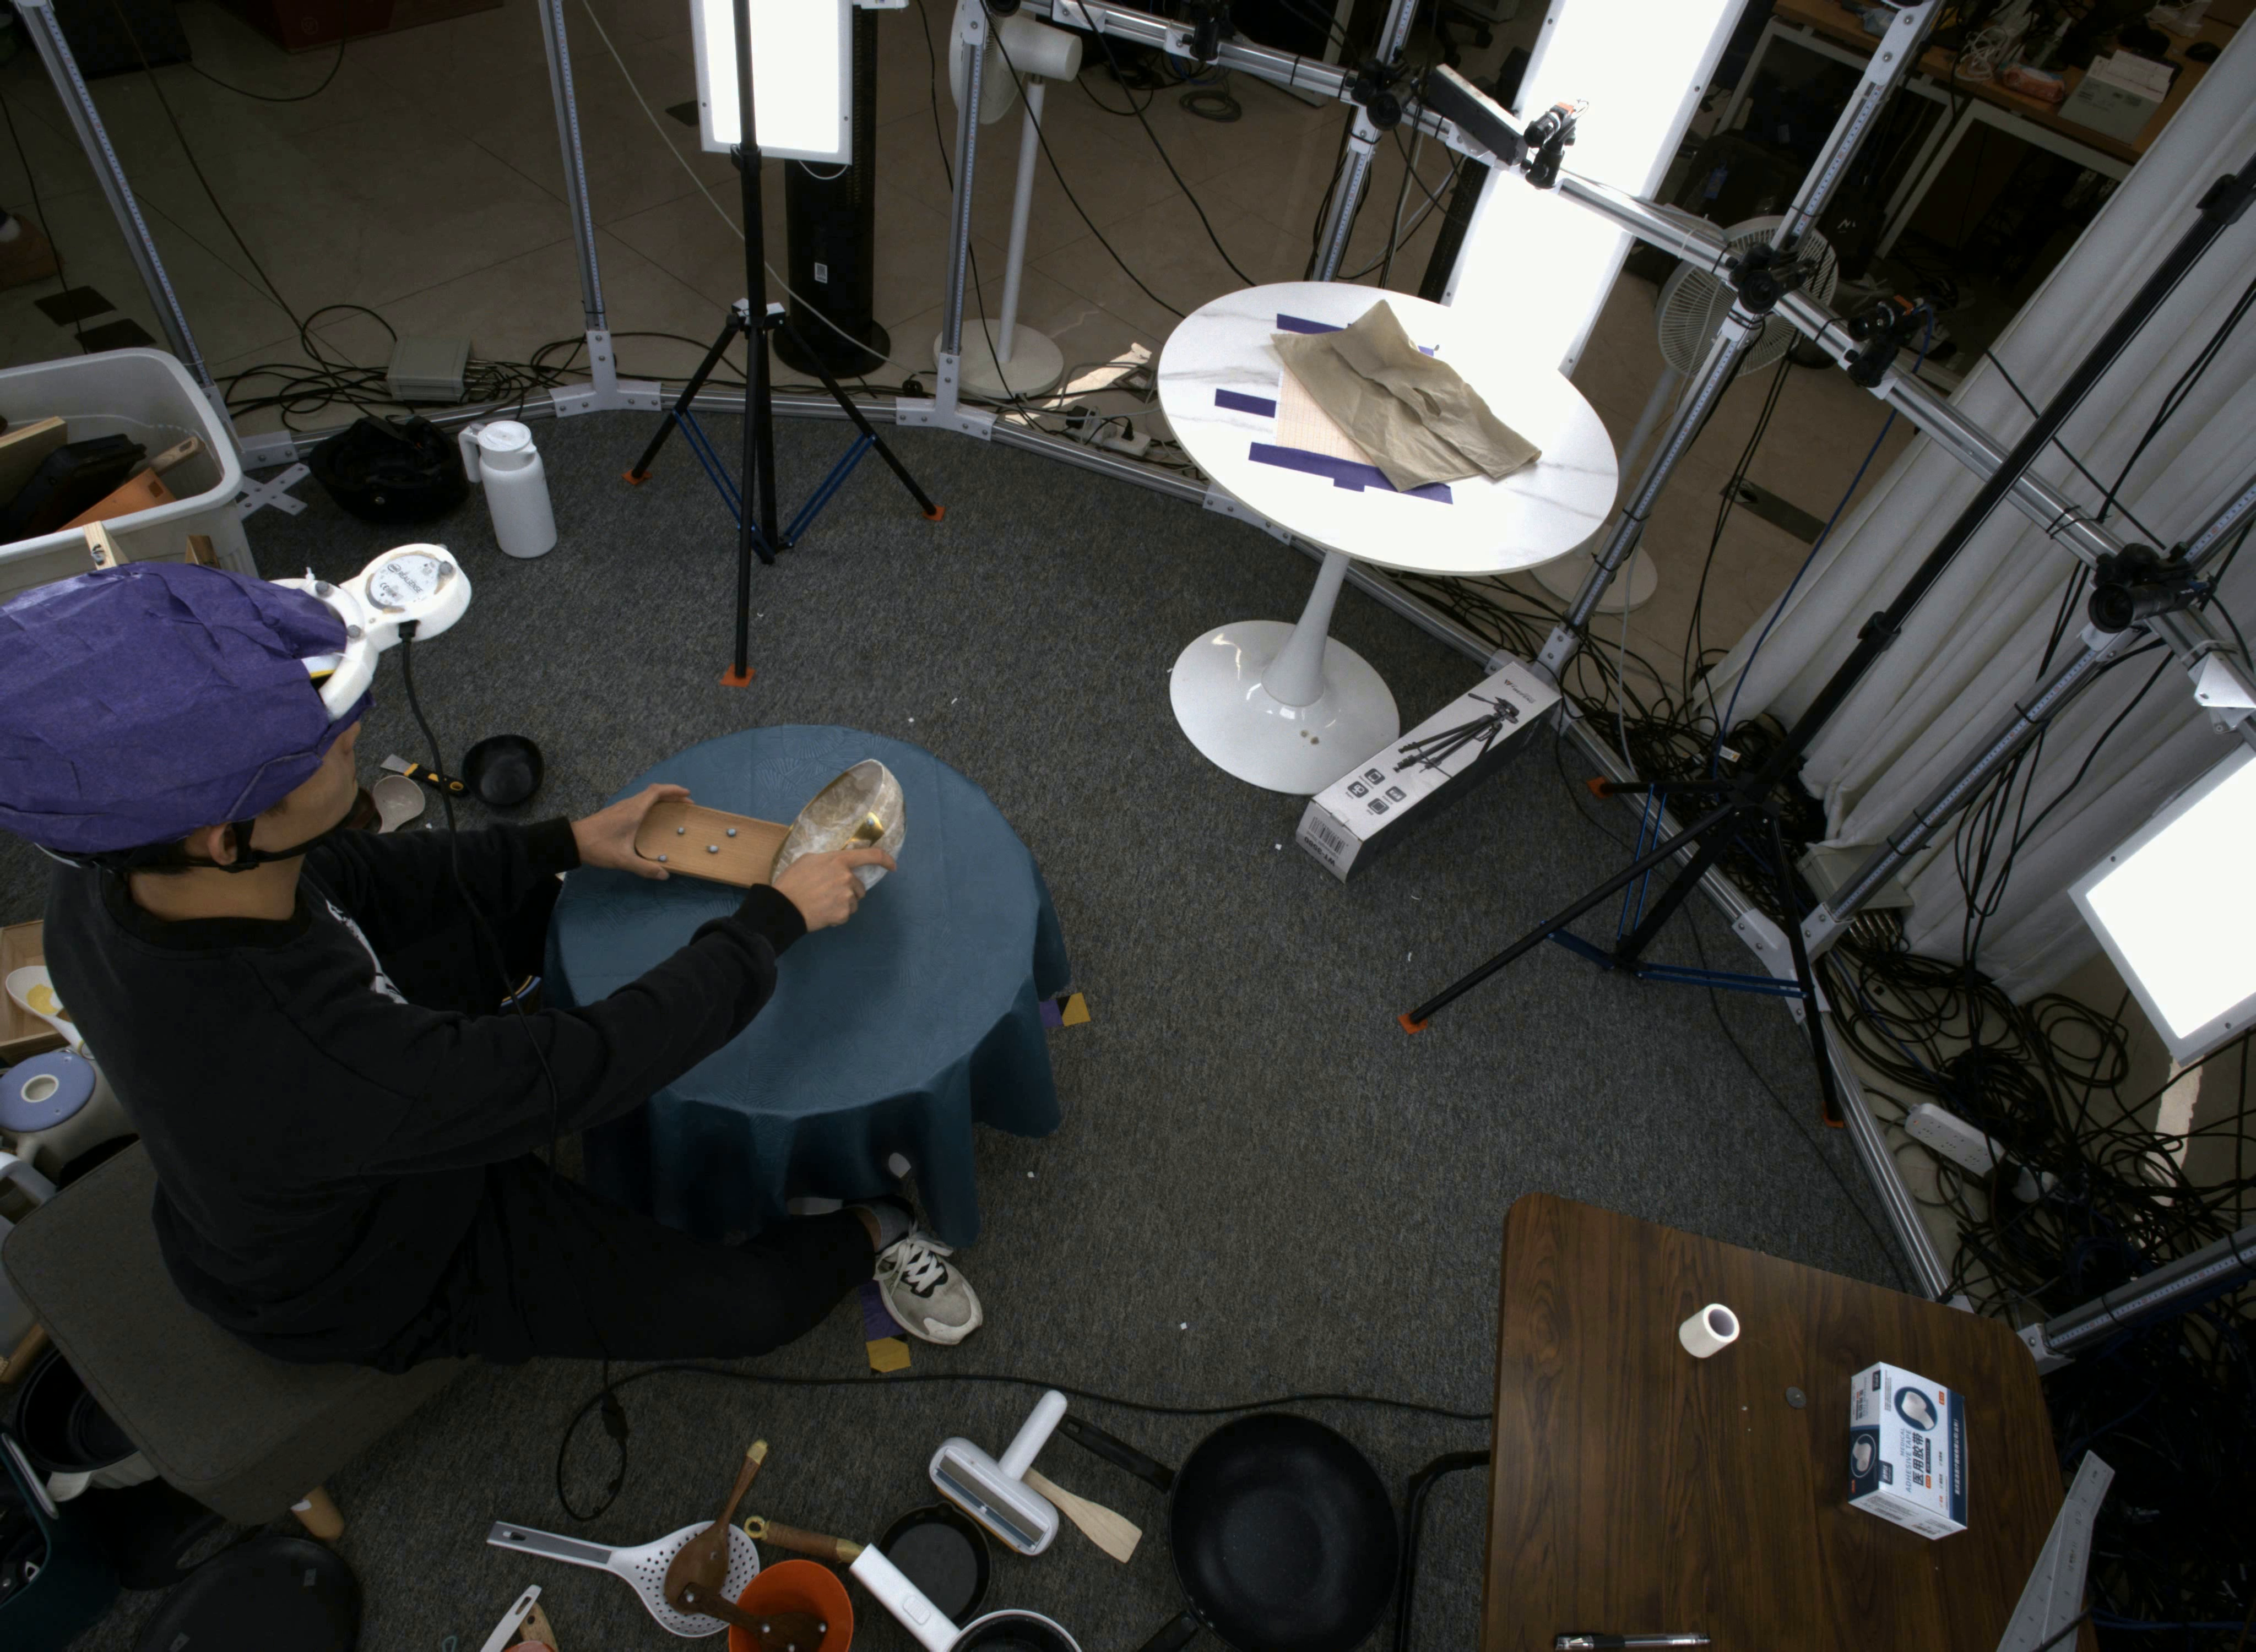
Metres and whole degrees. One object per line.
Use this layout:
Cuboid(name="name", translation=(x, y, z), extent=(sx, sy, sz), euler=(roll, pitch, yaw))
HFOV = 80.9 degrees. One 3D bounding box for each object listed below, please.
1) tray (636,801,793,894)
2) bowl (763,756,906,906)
Cuboid(name="tray", translation=(-0.510, 0.027, 1.646), extent=(0.234, 0.020, 0.100), euler=(14, 57, -23))
Cuboid(name="bowl", translation=(-0.346, 0.023, 1.608), extent=(0.098, 0.210, 0.212), euler=(43, 43, -30))
